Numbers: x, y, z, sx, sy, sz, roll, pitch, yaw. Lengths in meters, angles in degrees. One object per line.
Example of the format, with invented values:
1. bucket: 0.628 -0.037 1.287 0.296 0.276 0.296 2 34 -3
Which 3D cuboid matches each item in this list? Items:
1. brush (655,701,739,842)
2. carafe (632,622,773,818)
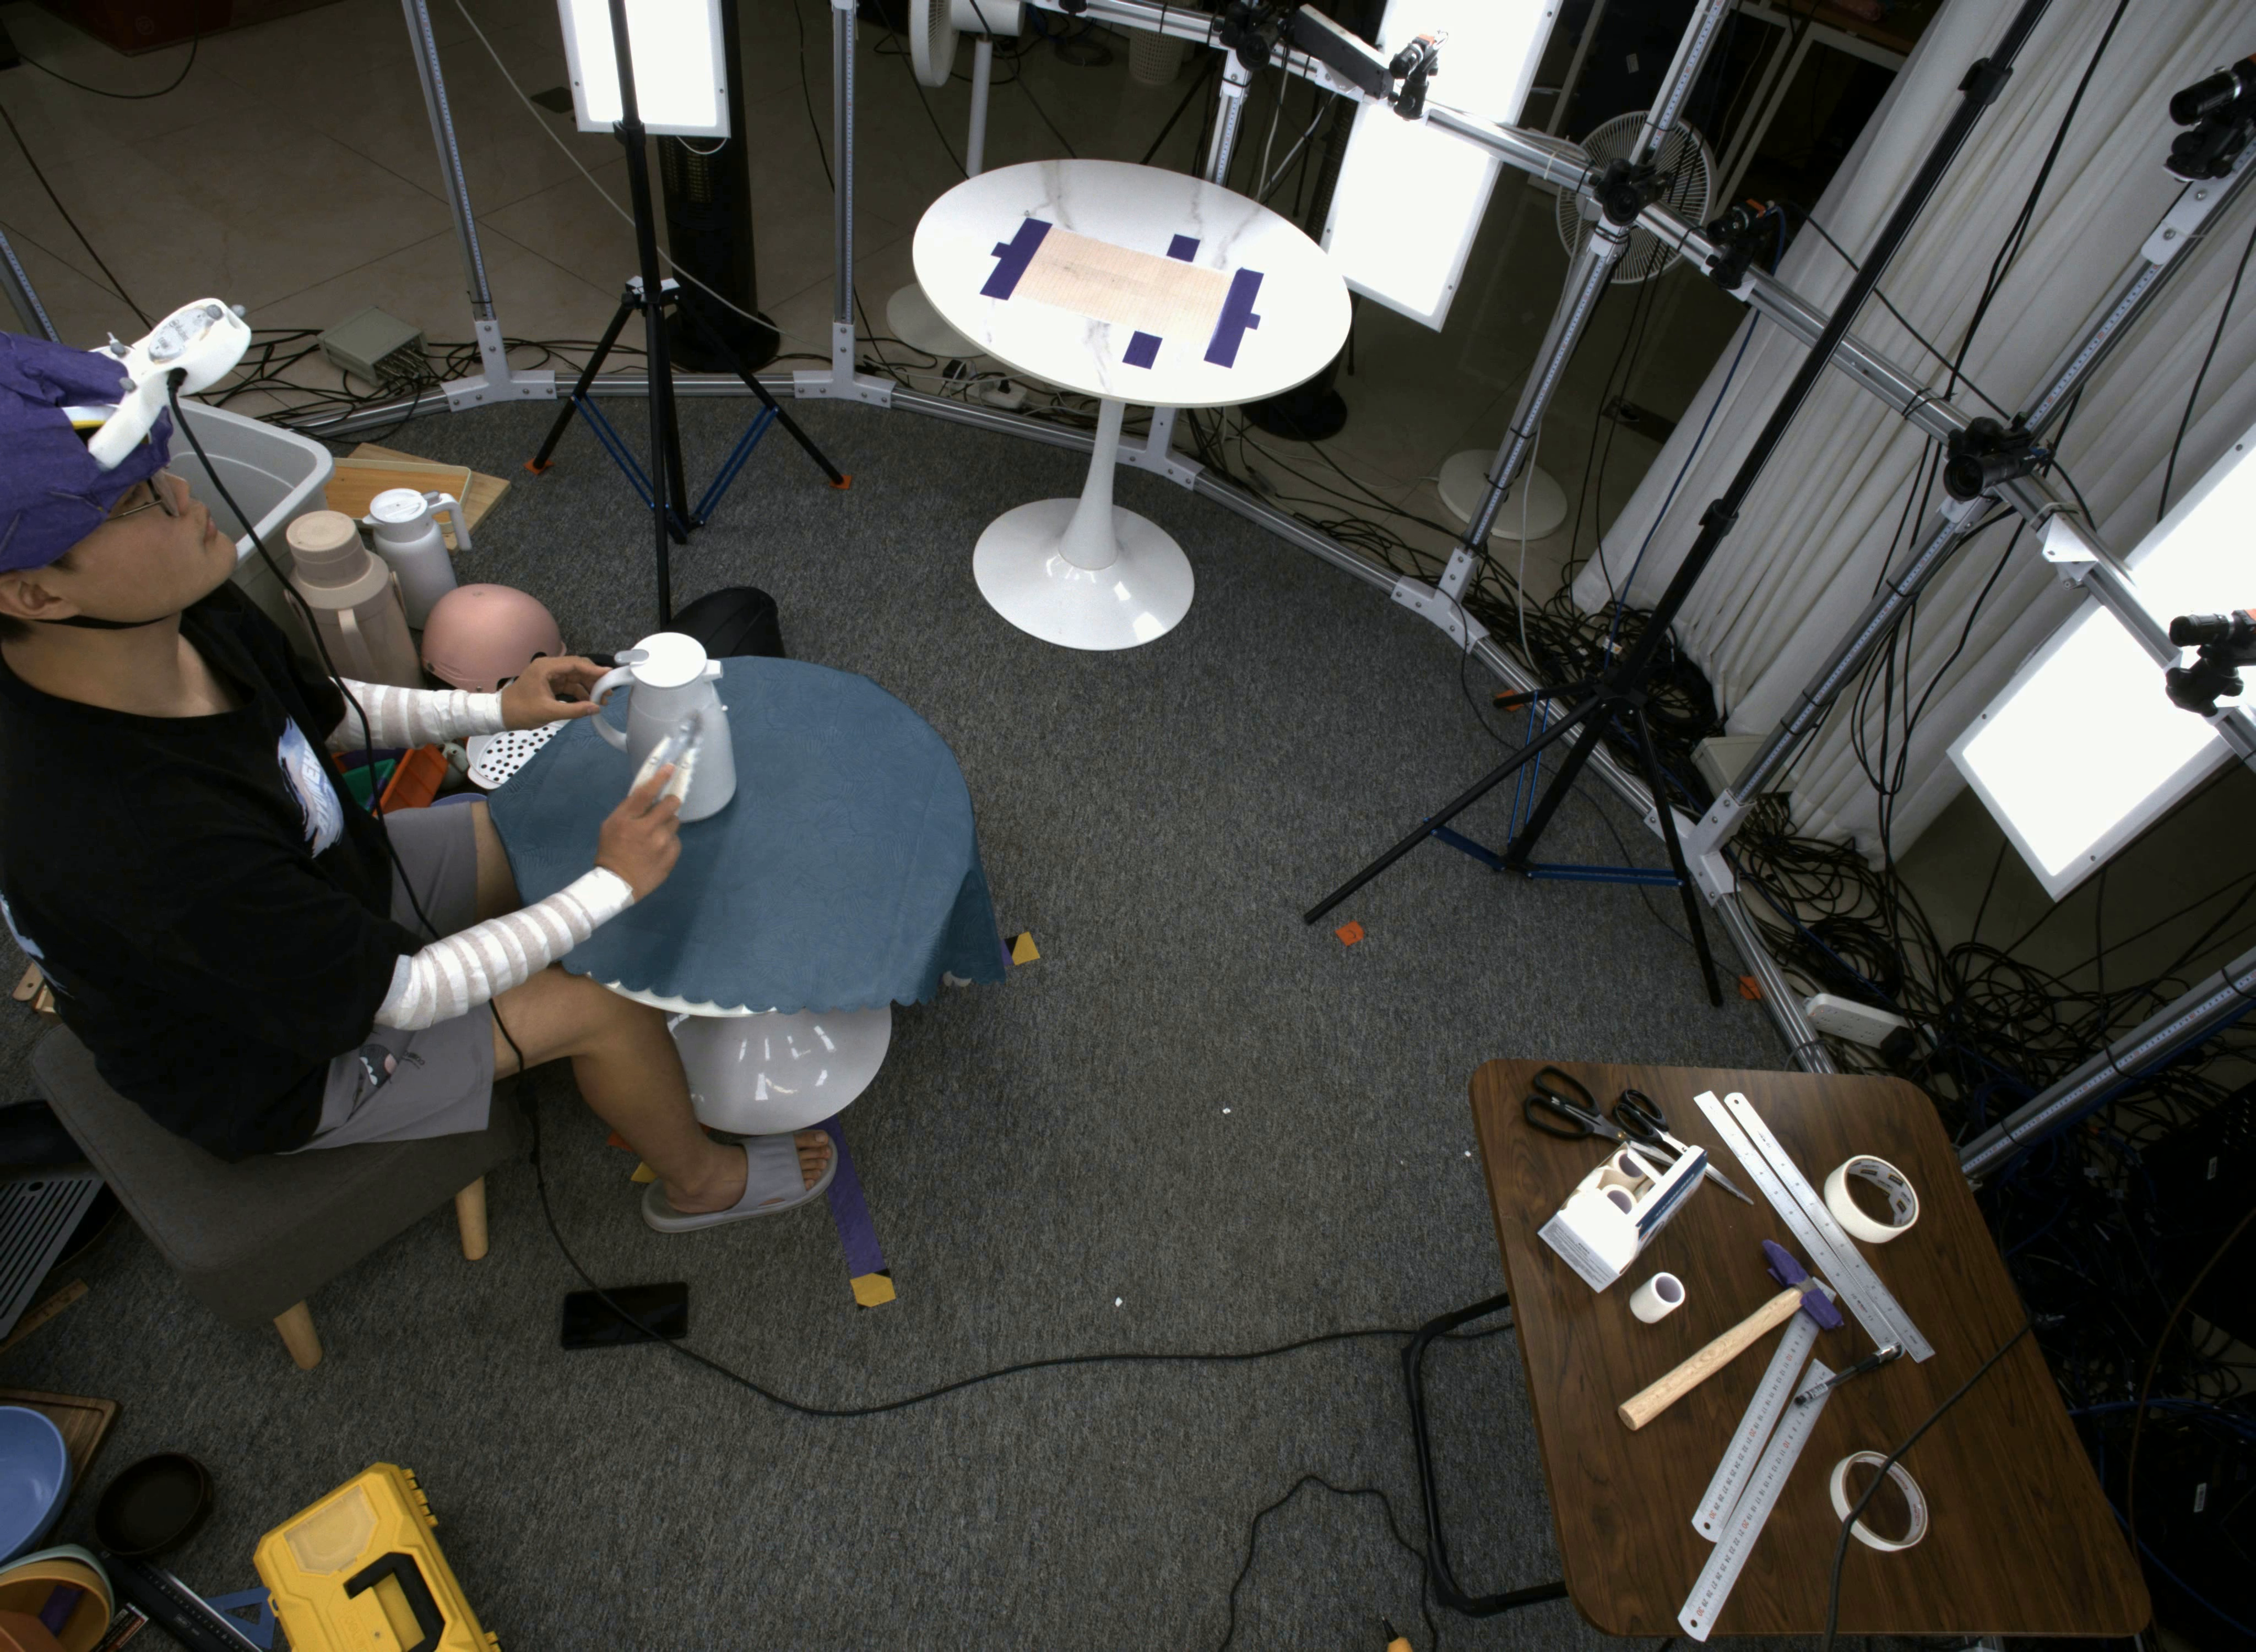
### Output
1. brush: -0.509 -0.061 1.530 0.062 0.177 0.092 27 16 -17
2. carafe: -0.548 -0.140 1.646 0.168 0.254 0.129 -2 53 -12
